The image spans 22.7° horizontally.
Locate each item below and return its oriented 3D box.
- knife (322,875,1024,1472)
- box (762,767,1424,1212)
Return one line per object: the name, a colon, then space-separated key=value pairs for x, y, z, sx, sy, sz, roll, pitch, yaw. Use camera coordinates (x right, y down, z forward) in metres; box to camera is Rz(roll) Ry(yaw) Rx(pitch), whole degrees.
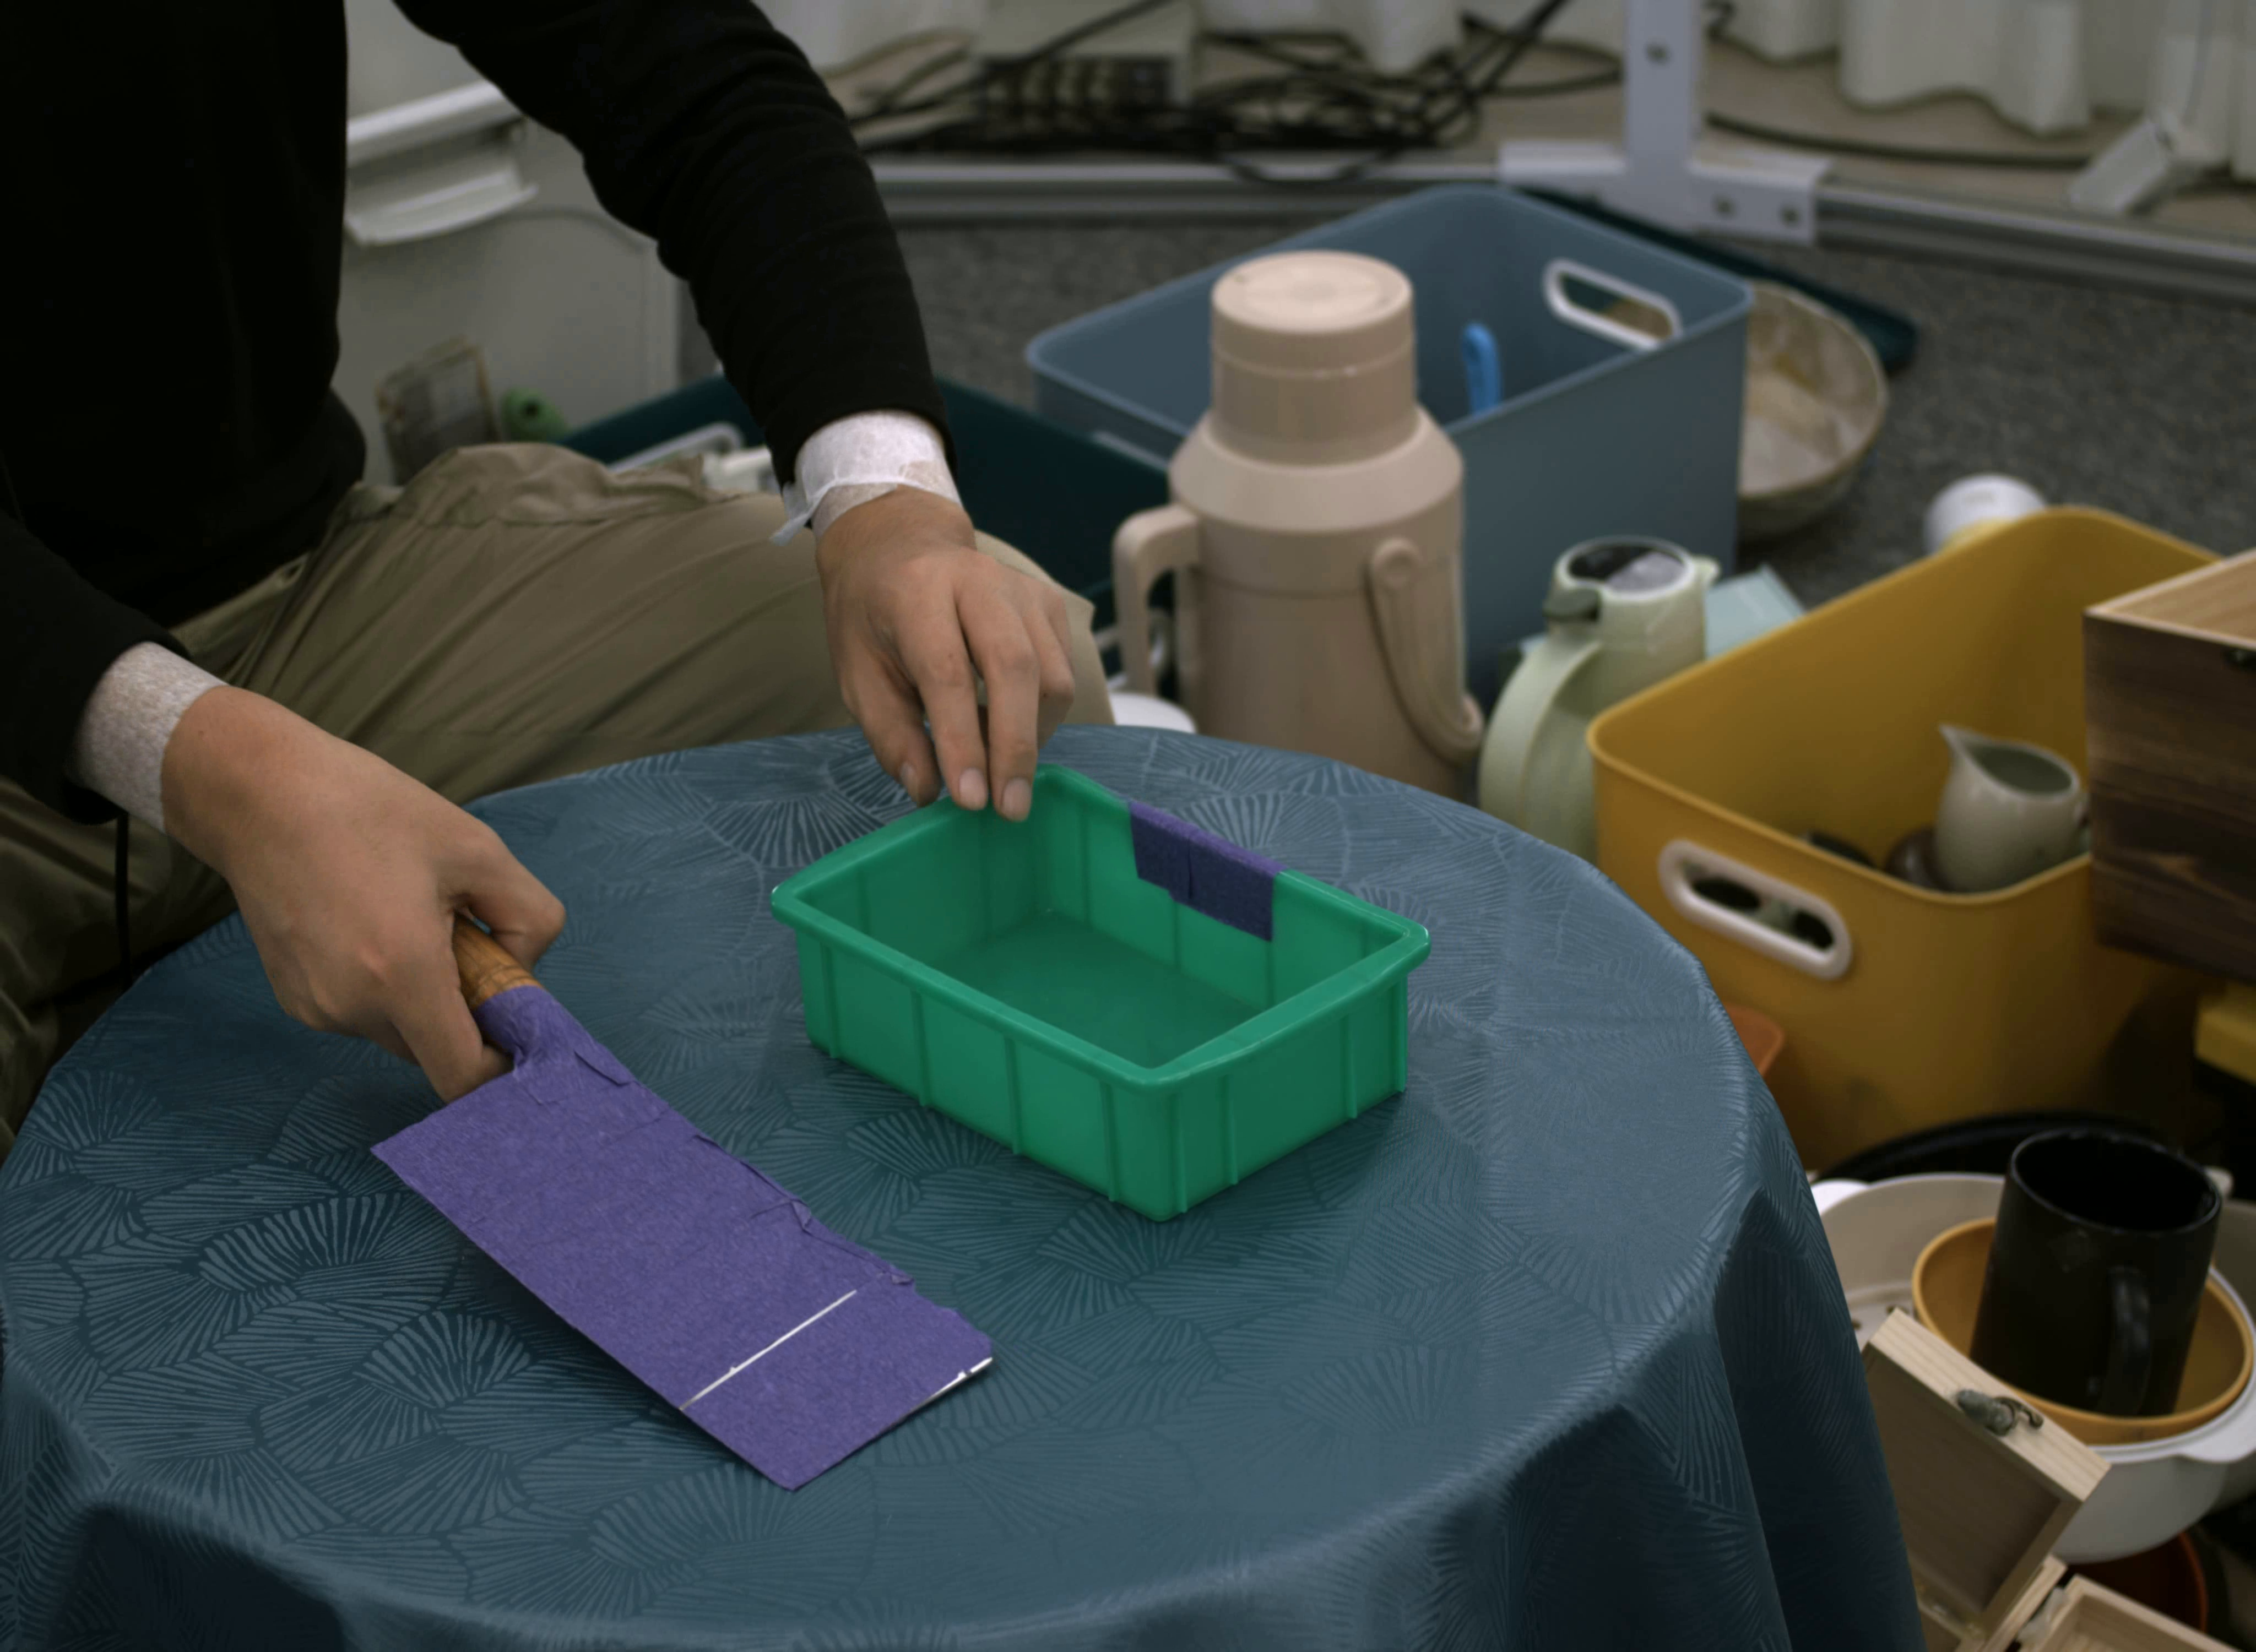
knife: x=-0.176 y=0.109 z=1.822 sx=0.316 sy=0.032 sz=0.105 roll=32 pitch=43 yaw=34
box: x=-0.012 y=0.056 z=1.923 sx=0.140 sy=0.064 sz=0.210 roll=-25 pitch=33 yaw=-38
